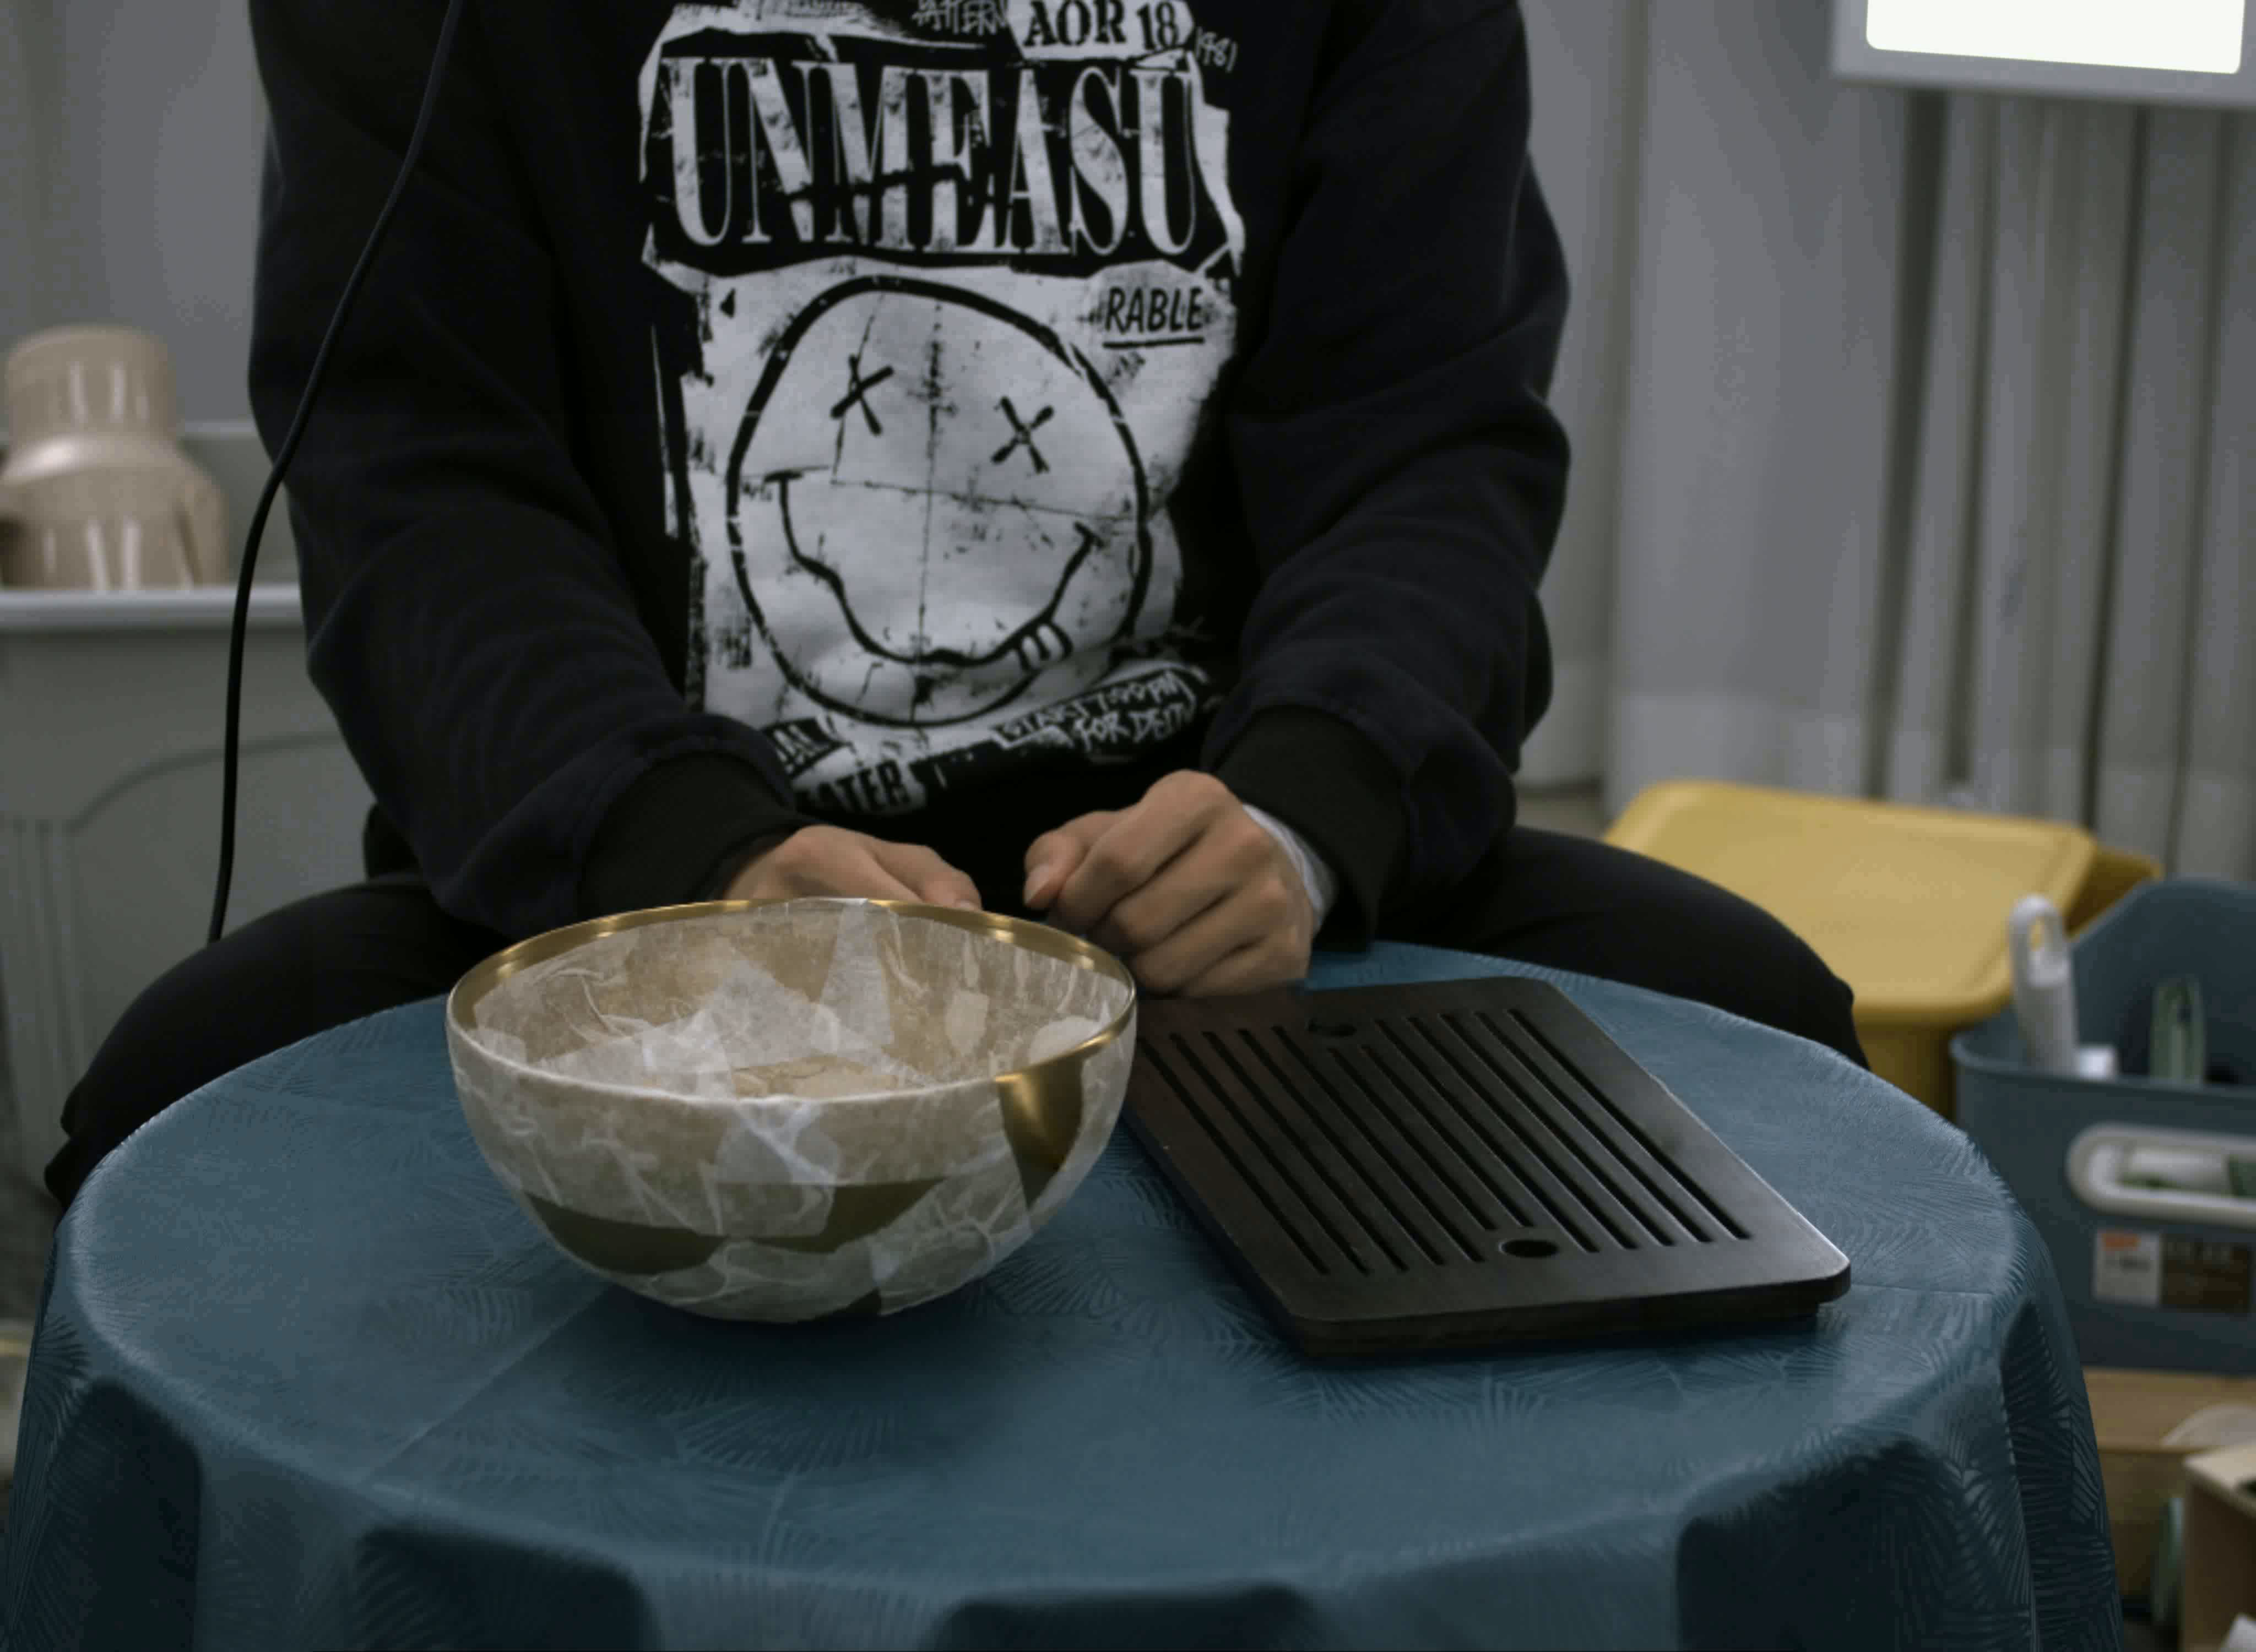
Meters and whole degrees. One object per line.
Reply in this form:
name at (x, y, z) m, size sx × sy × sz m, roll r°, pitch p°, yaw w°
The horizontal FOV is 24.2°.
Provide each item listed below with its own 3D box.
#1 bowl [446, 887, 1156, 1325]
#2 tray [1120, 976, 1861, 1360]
bowl at (-0.093, 0.089, 1.534) m, size 0.214 × 0.095 × 0.213 m, roll 0°, pitch 16°, yaw 1°
tray at (0.097, 0.103, 1.634) m, size 0.170 × 0.019 × 0.303 m, roll -3°, pitch 16°, yaw -13°
